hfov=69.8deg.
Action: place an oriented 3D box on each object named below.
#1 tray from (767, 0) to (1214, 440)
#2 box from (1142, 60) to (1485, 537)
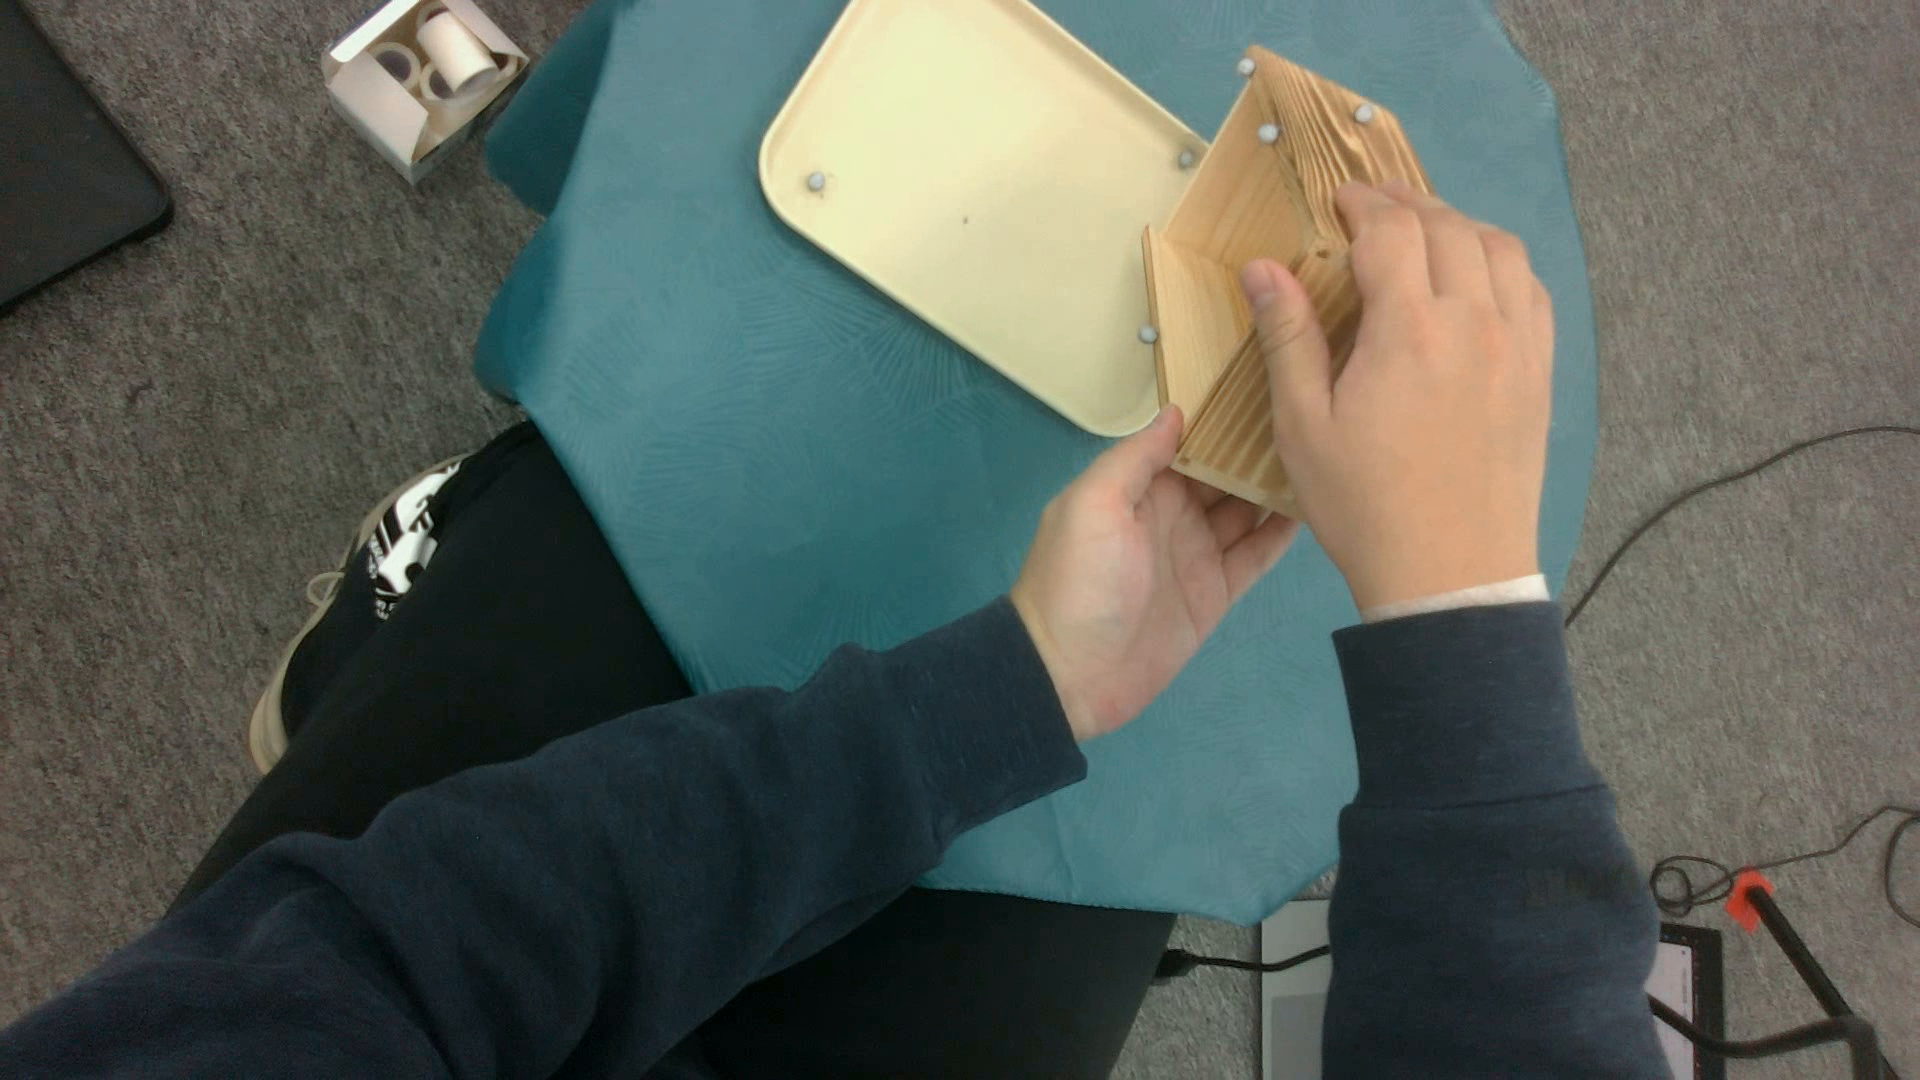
[{"bbox_3d":[0.031,-0.173,0.713,0.239,0.017,0.171,33,78,-15],"label":"tray"},{"bbox_3d":[0.143,-0.114,0.606,0.080,0.107,0.212,21,35,-11],"label":"box"}]
